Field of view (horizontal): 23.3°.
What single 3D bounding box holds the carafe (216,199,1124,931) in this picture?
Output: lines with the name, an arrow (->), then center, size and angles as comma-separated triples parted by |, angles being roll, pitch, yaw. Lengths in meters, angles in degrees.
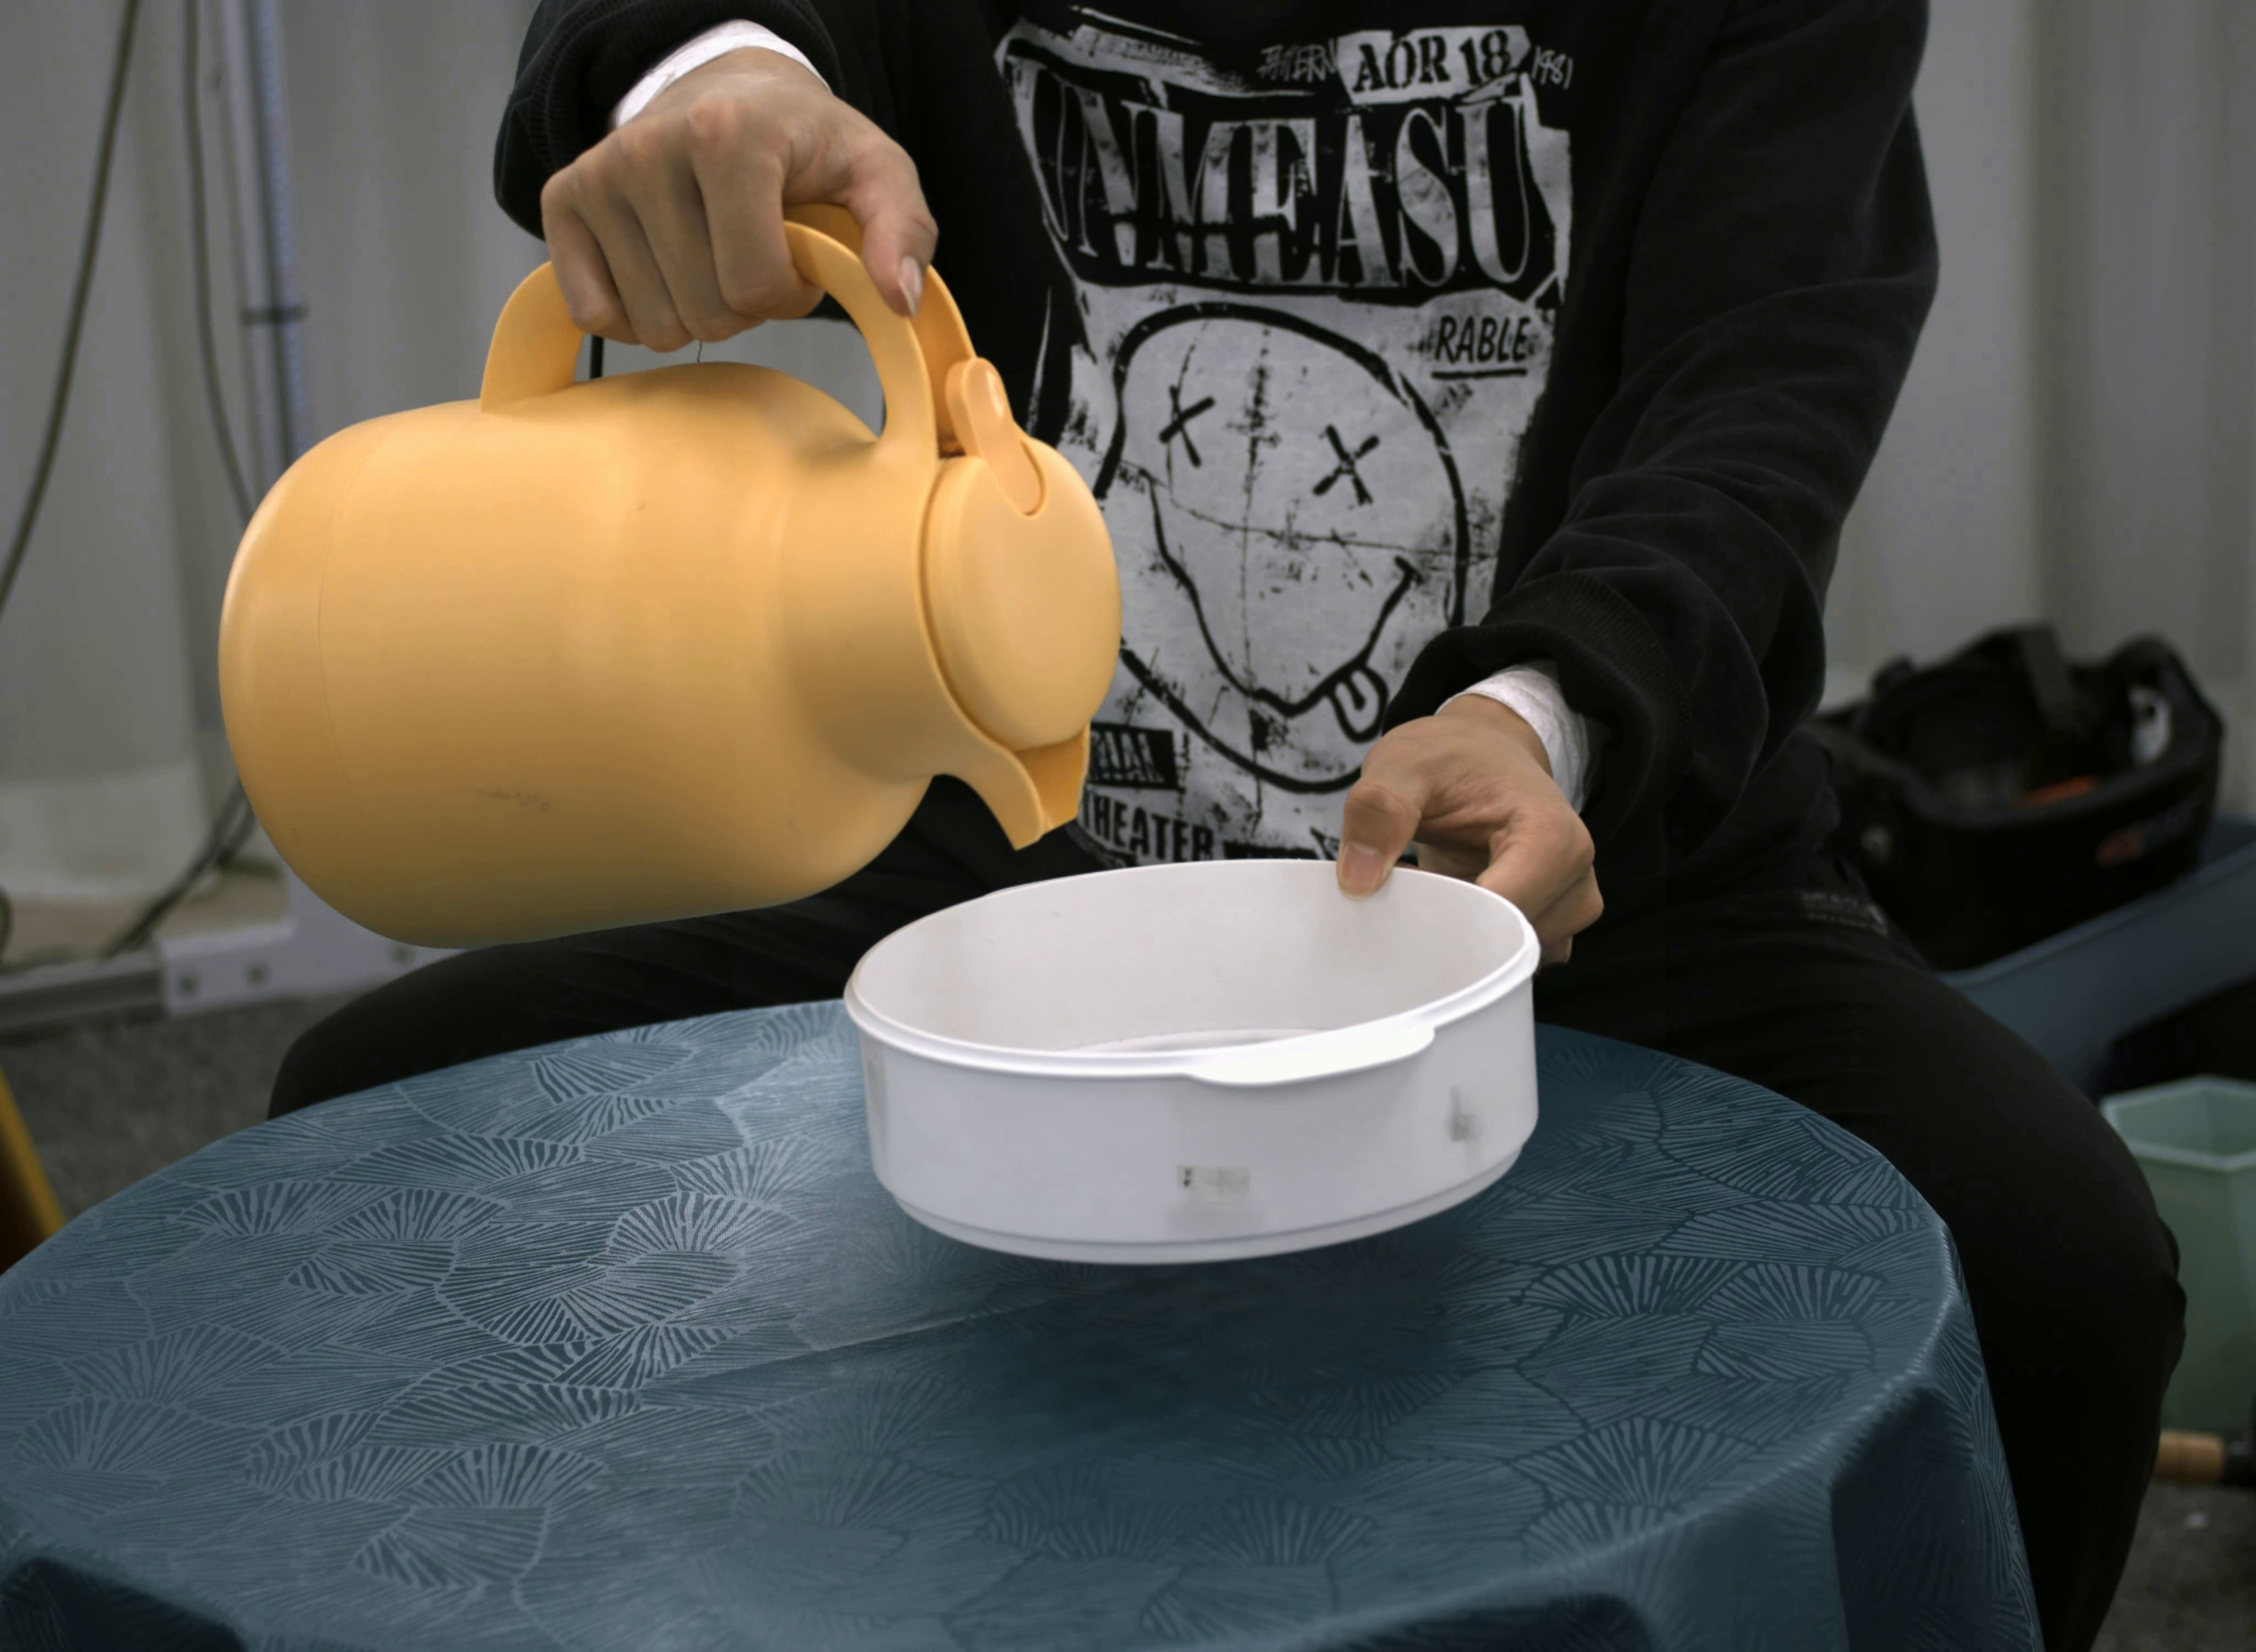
carafe -> -0.132, -0.076, 1.598 | 0.260, 0.202, 0.163 | -5, 10, 30

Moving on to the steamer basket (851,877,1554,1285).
steamer basket -> 0.023, 0.073, 1.568 | 0.201, 0.069, 0.232 | -10, 15, -18
